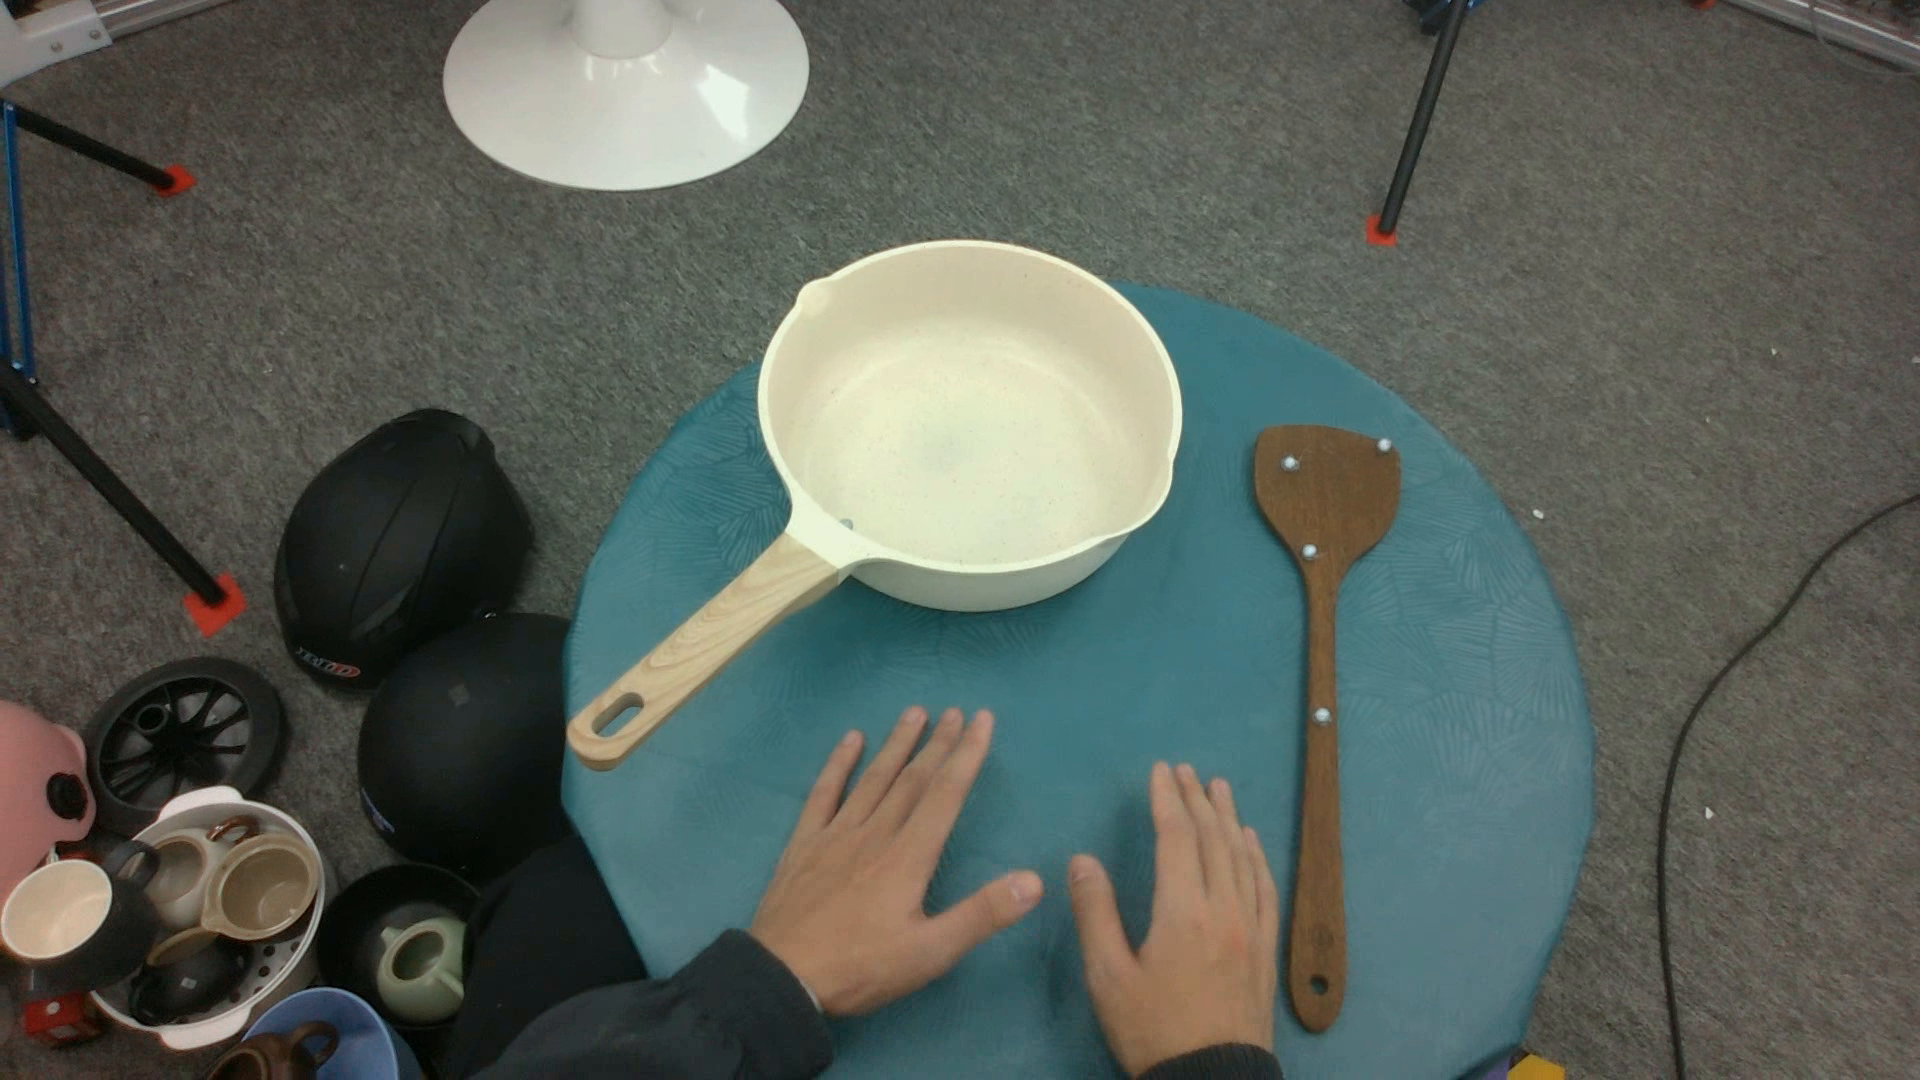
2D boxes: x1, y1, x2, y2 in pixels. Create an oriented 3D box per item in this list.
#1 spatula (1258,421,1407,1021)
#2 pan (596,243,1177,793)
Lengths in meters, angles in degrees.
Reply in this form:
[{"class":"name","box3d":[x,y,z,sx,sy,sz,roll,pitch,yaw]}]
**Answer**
[{"class":"spatula","box3d":[0.221,0.084,0.810,0.096,0.016,0.388,7,57,3]},{"class":"pan","box3d":[-0.049,-0.007,0.810,0.263,0.101,0.437,32,61,16]}]
